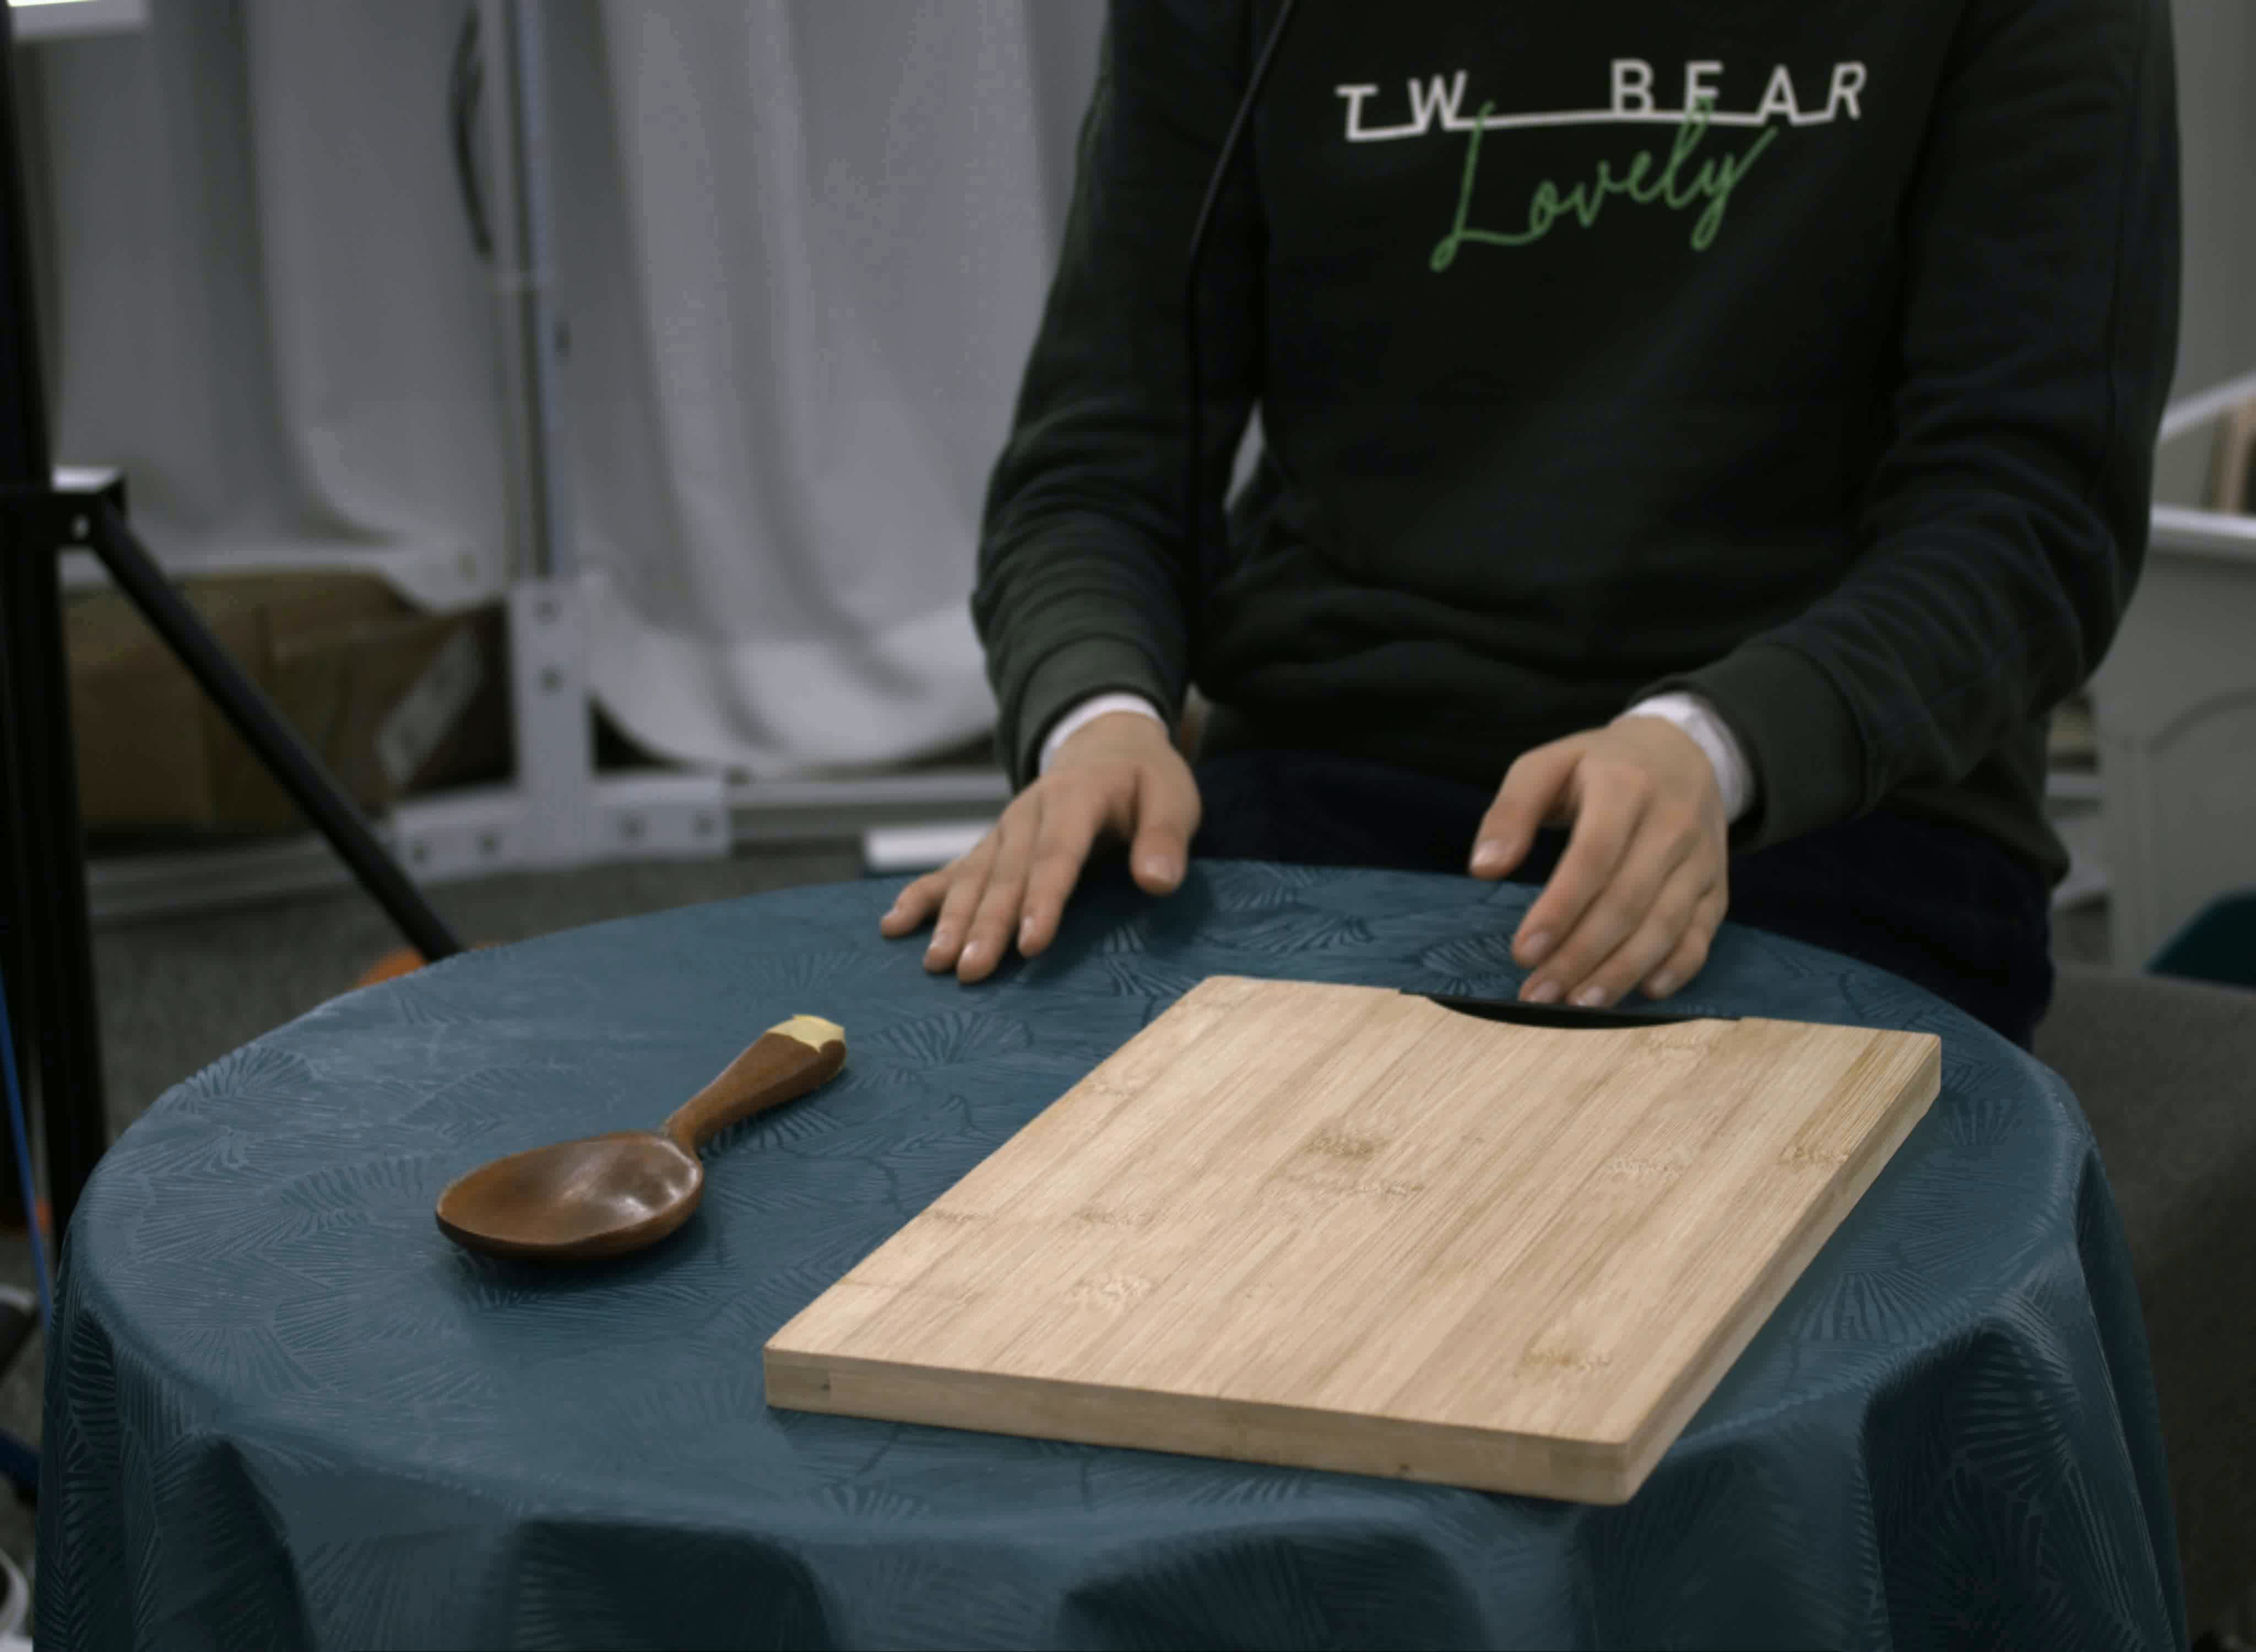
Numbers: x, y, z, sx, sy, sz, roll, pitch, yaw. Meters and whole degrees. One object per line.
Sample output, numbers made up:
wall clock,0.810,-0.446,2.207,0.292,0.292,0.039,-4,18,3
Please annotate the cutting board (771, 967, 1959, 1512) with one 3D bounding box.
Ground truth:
cutting board,0.079,0.109,1.513,0.254,0.023,0.344,4,17,21

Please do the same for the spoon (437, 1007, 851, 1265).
spoon,-0.135,0.094,1.597,0.076,0.017,0.213,3,17,23
